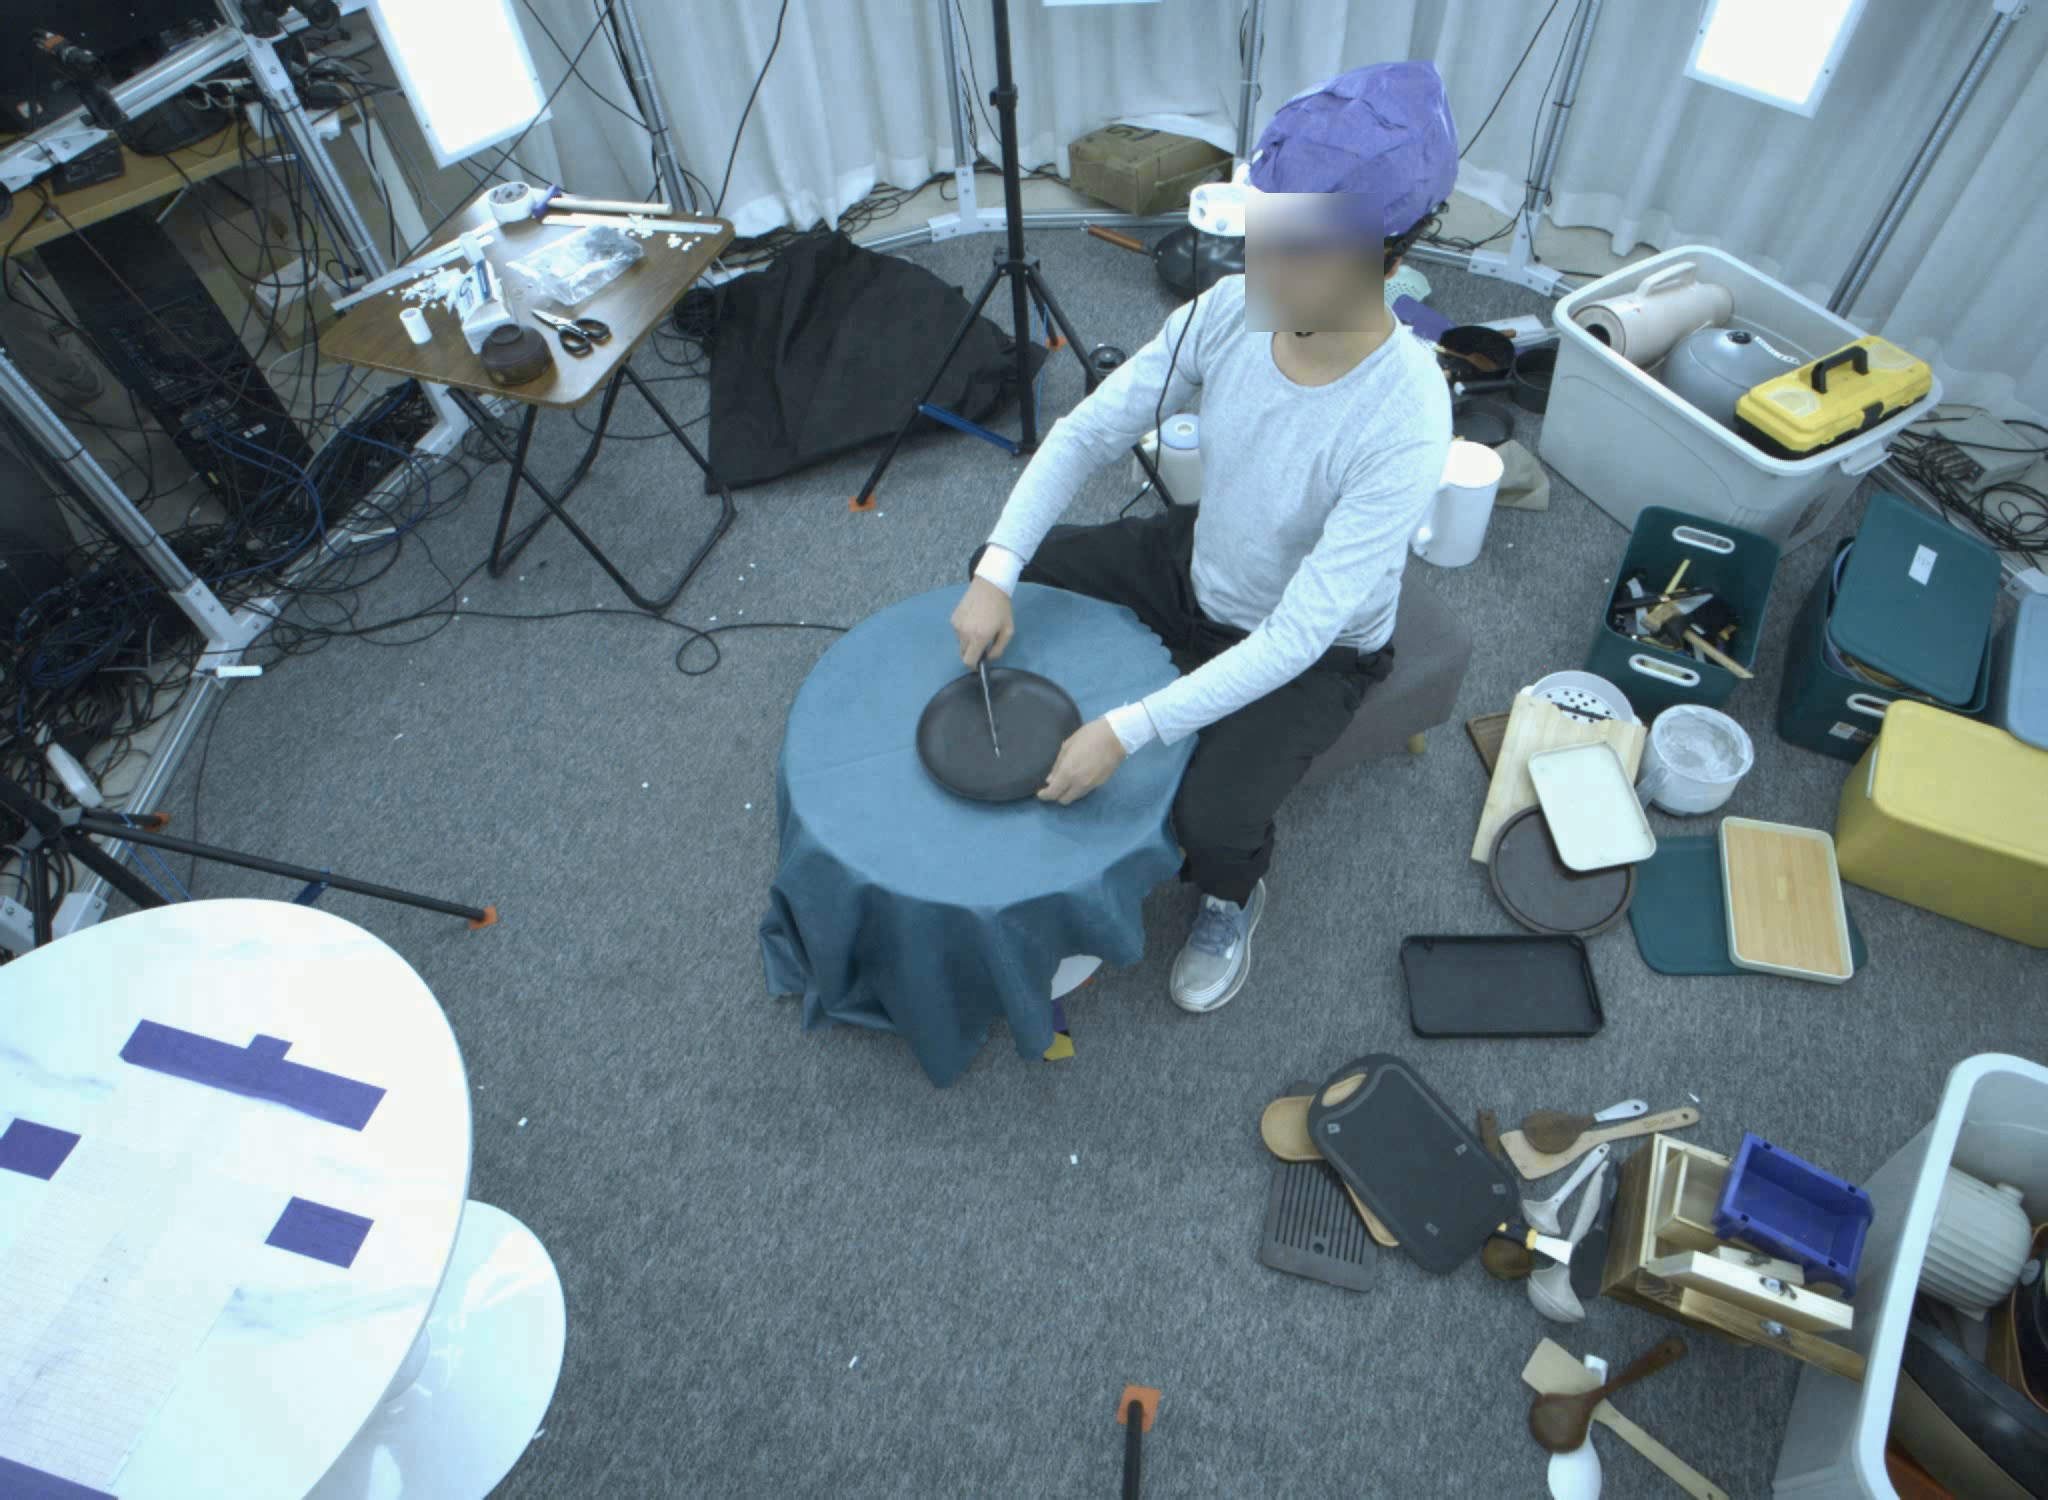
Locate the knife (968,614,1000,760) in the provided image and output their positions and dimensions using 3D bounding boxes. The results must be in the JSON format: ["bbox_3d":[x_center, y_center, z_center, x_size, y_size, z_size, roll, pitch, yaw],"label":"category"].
[{"bbox_3d":[-0.057,-0.097,1.815,0.016,0.024,0.236,-11,71,1],"label":"knife"}]

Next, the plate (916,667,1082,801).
[{"bbox_3d":[-0.036,-0.022,1.797,0.244,0.024,0.242,0,55,2],"label":"plate"}]
